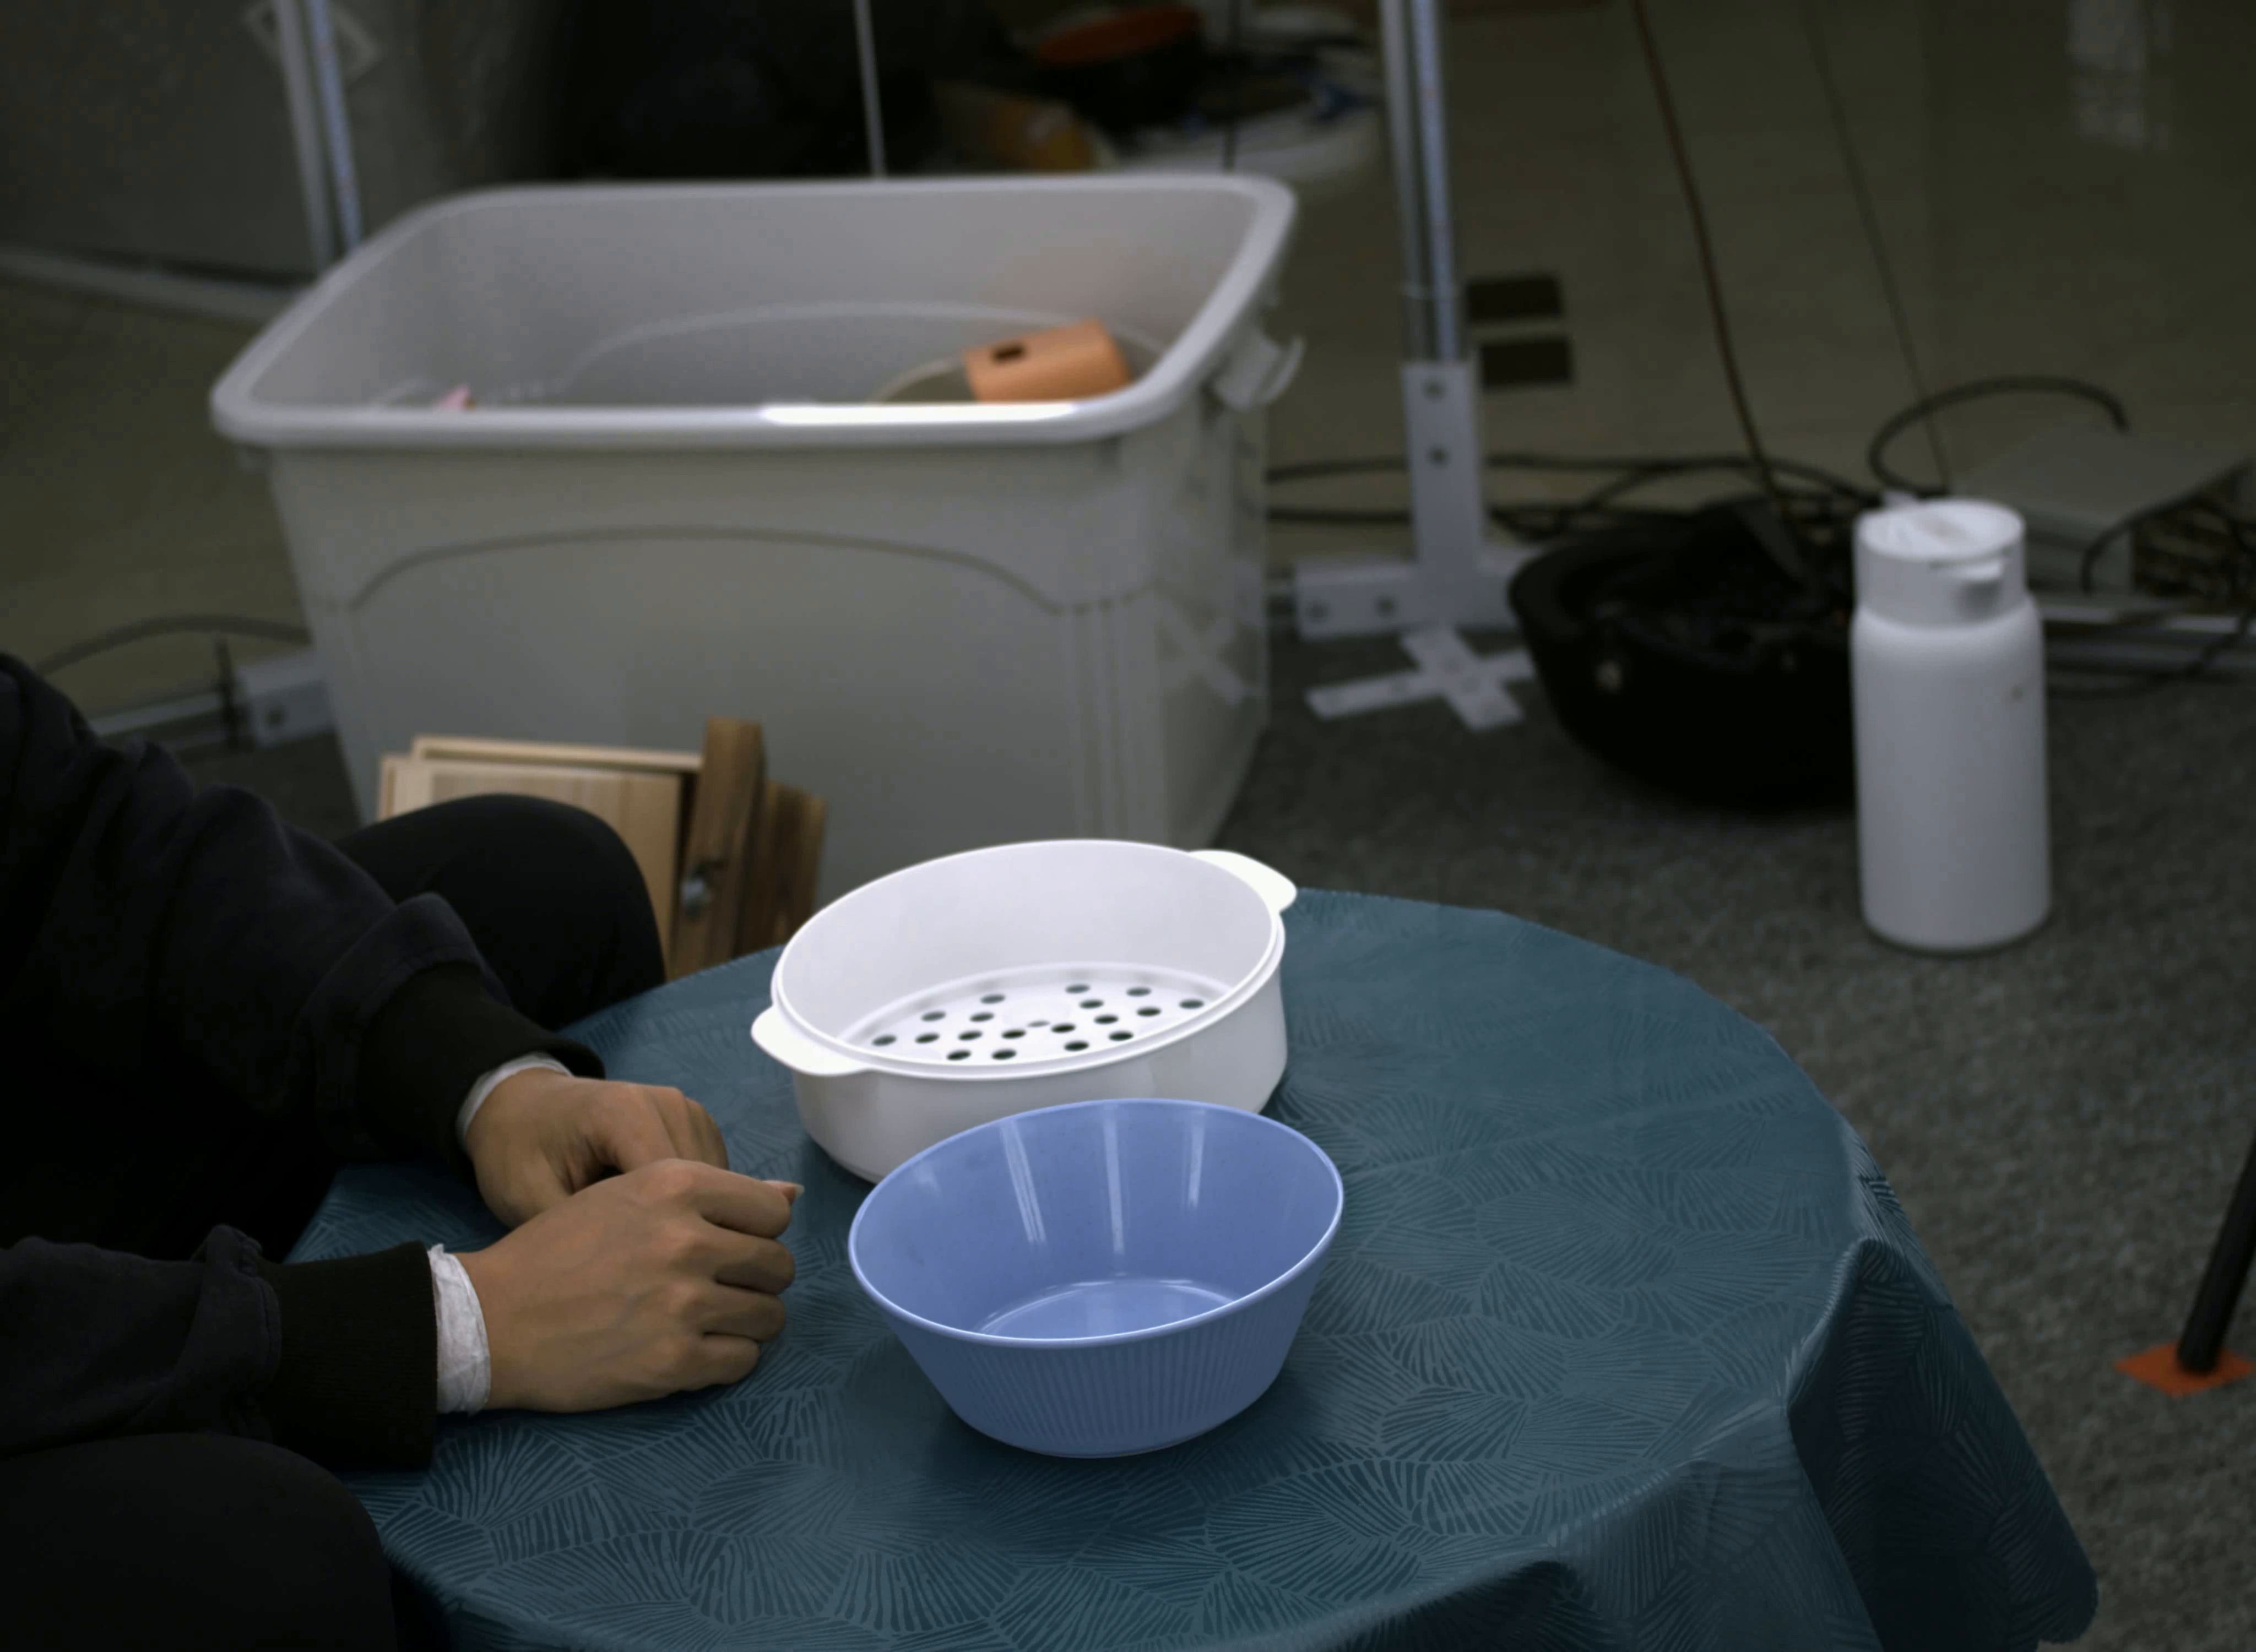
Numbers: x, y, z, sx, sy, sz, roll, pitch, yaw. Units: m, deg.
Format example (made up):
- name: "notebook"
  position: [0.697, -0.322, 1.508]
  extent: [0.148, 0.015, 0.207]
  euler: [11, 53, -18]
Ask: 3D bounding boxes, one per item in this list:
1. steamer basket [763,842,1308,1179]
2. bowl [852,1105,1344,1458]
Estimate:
- name: "steamer basket"
  position: [-0.032, 0.075, 2.215]
  extent: [0.229, 0.070, 0.200]
  euler: [-18, 28, -29]
- name: "bowl"
  position: [-0.007, 0.167, 2.009]
  extent: [0.176, 0.071, 0.173]
  euler: [-6, 24, 3]
